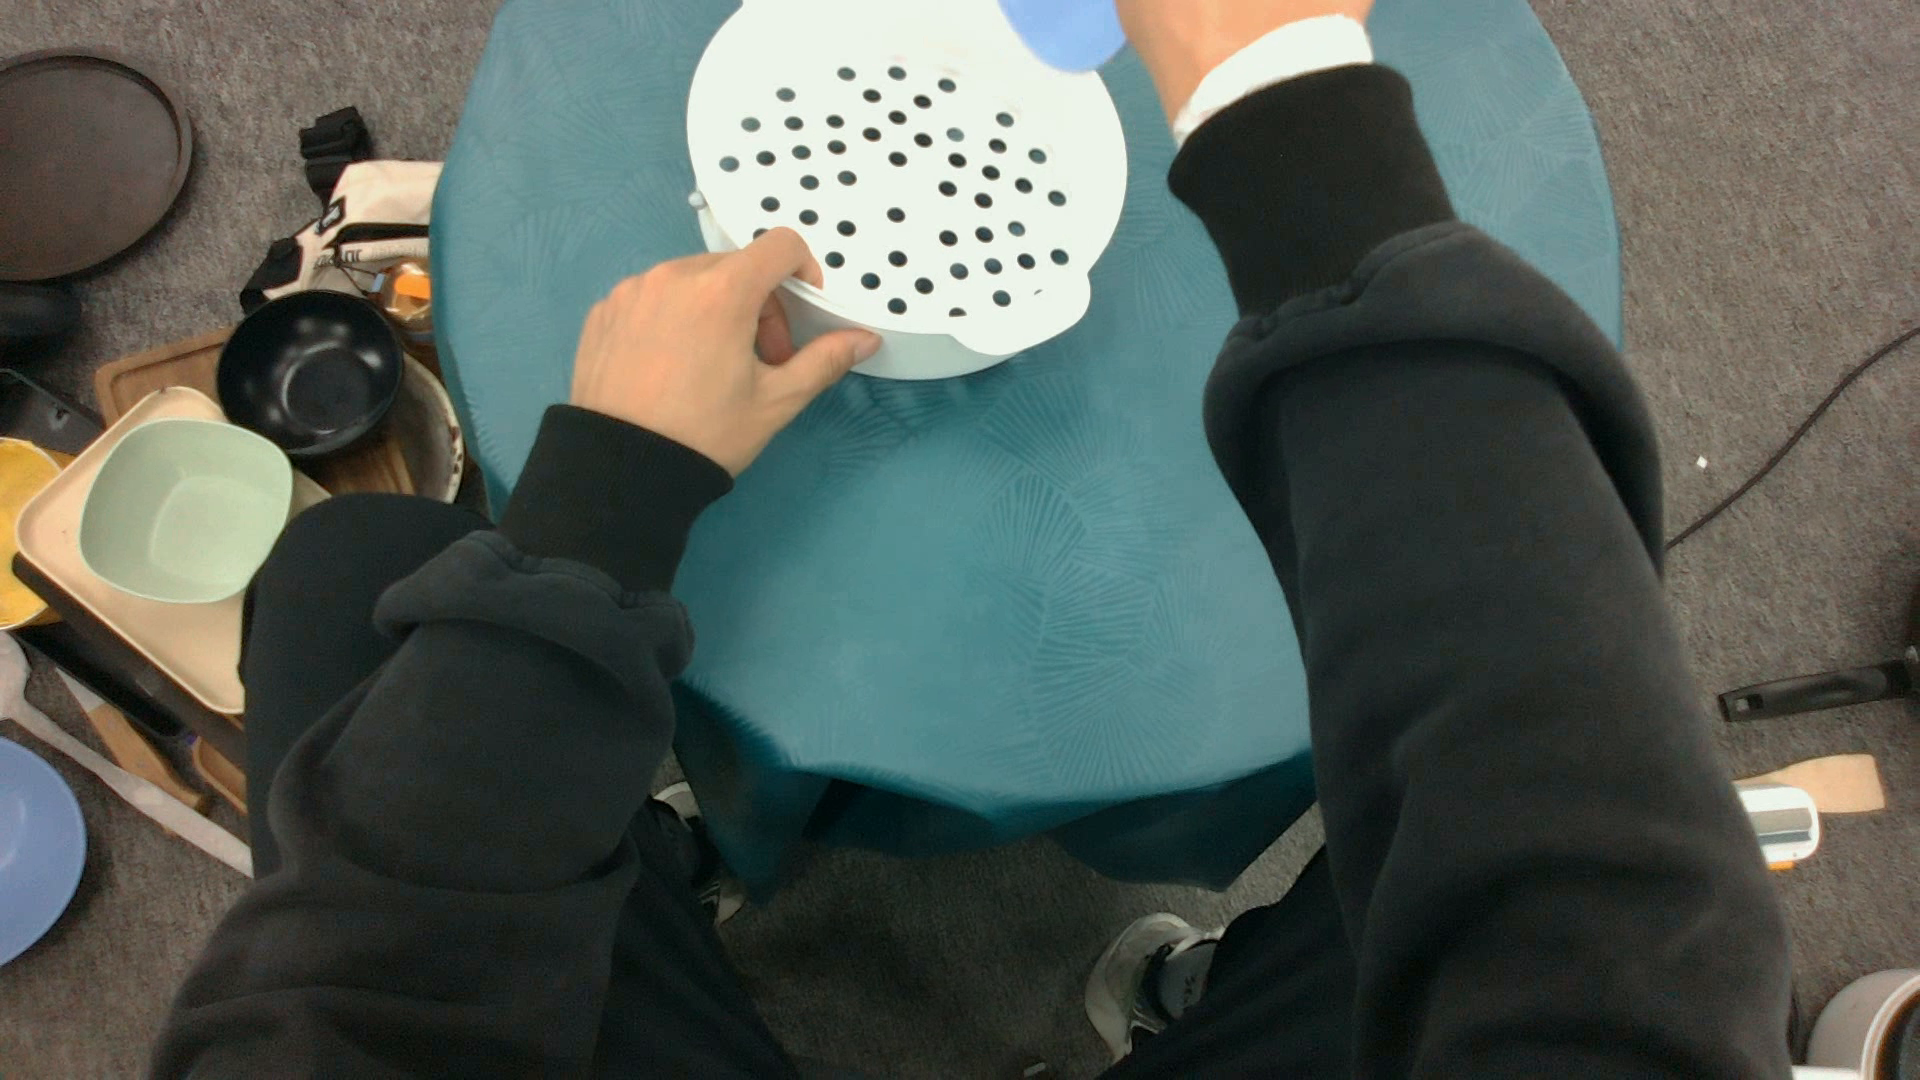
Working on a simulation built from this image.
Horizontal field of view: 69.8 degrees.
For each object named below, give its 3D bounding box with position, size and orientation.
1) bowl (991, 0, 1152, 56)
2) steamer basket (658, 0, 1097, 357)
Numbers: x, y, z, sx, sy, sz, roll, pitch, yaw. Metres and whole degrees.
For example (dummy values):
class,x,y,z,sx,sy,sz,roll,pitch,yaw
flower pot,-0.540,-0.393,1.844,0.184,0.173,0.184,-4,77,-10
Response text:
class,x,y,z,sx,sy,sz,roll,pitch,yaw
bowl,0.058,-0.275,0.512,0.070,0.175,0.176,-13,75,-20
steamer basket,-0.040,-0.182,0.654,0.202,0.069,0.231,-27,74,-21
